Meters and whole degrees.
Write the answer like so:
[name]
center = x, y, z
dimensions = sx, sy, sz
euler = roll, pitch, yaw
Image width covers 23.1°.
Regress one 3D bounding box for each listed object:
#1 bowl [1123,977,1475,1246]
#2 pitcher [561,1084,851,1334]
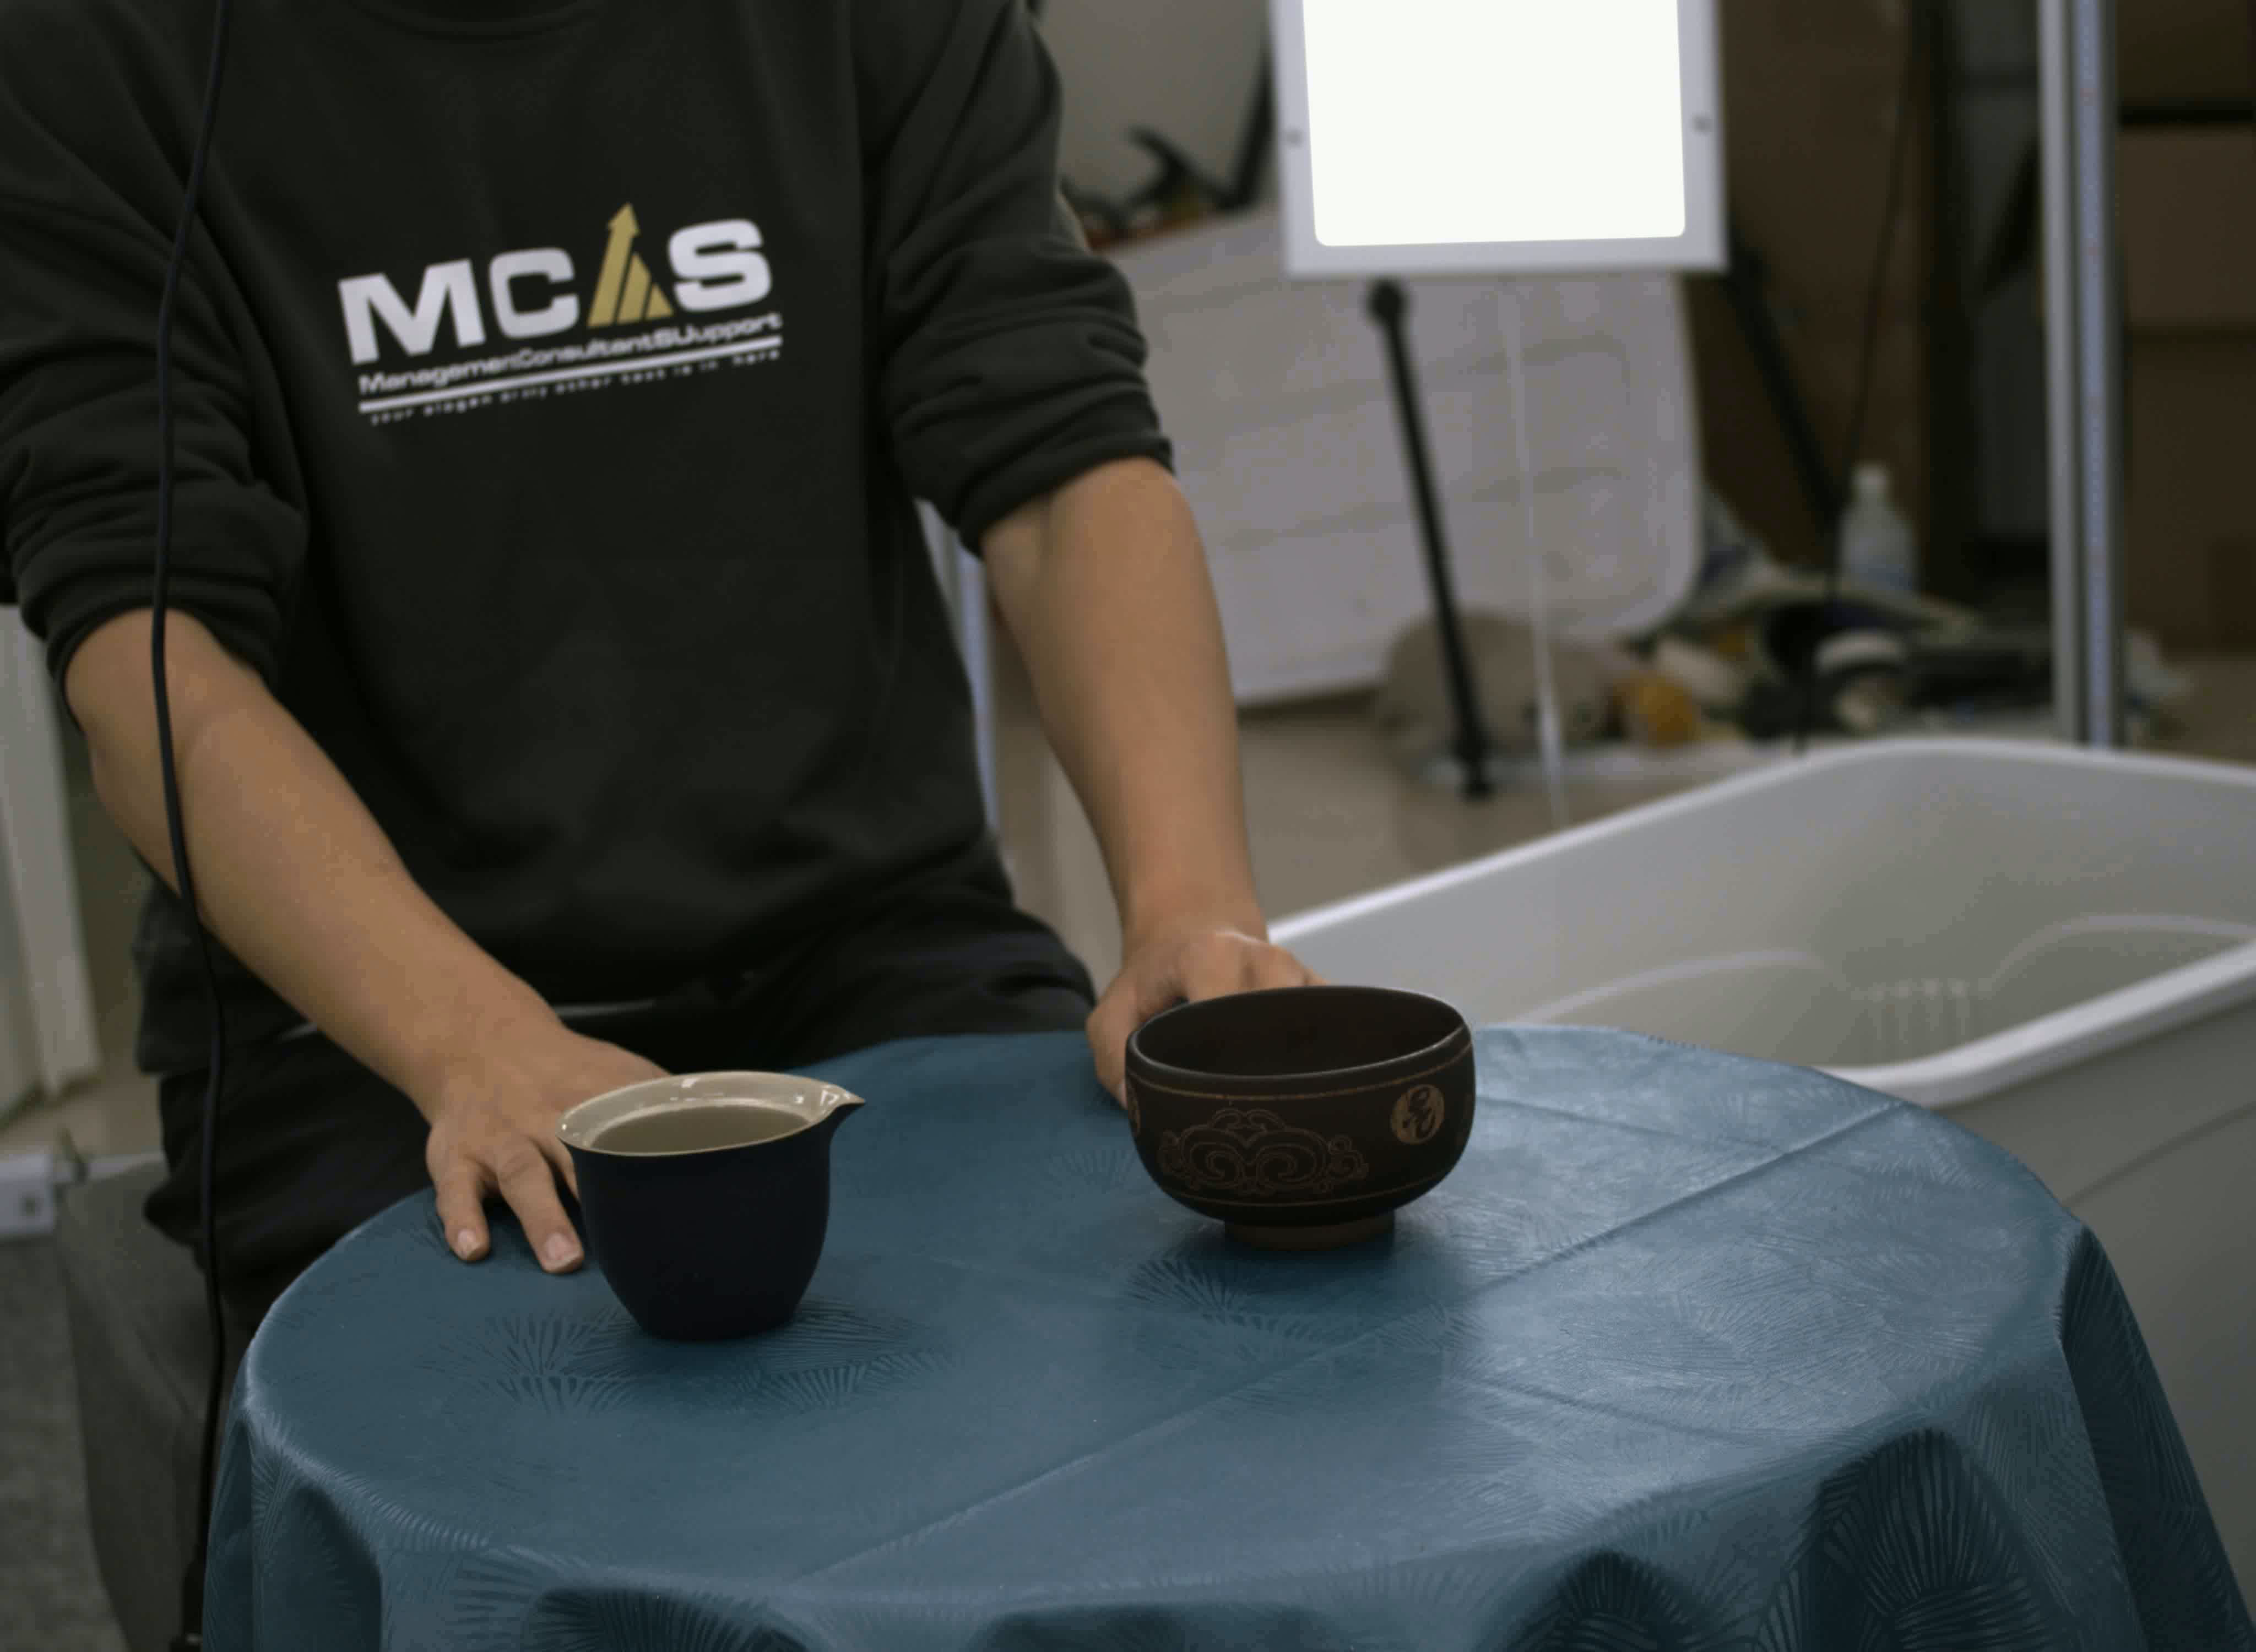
[bowl]
center = 0.059, 0.099, 1.839
dimensions = 0.118, 0.070, 0.118
euler = -5, 15, 0
[pitcher]
center = -0.135, 0.124, 1.799
dimensions = 0.095, 0.071, 0.084
euler = -6, 12, -3
